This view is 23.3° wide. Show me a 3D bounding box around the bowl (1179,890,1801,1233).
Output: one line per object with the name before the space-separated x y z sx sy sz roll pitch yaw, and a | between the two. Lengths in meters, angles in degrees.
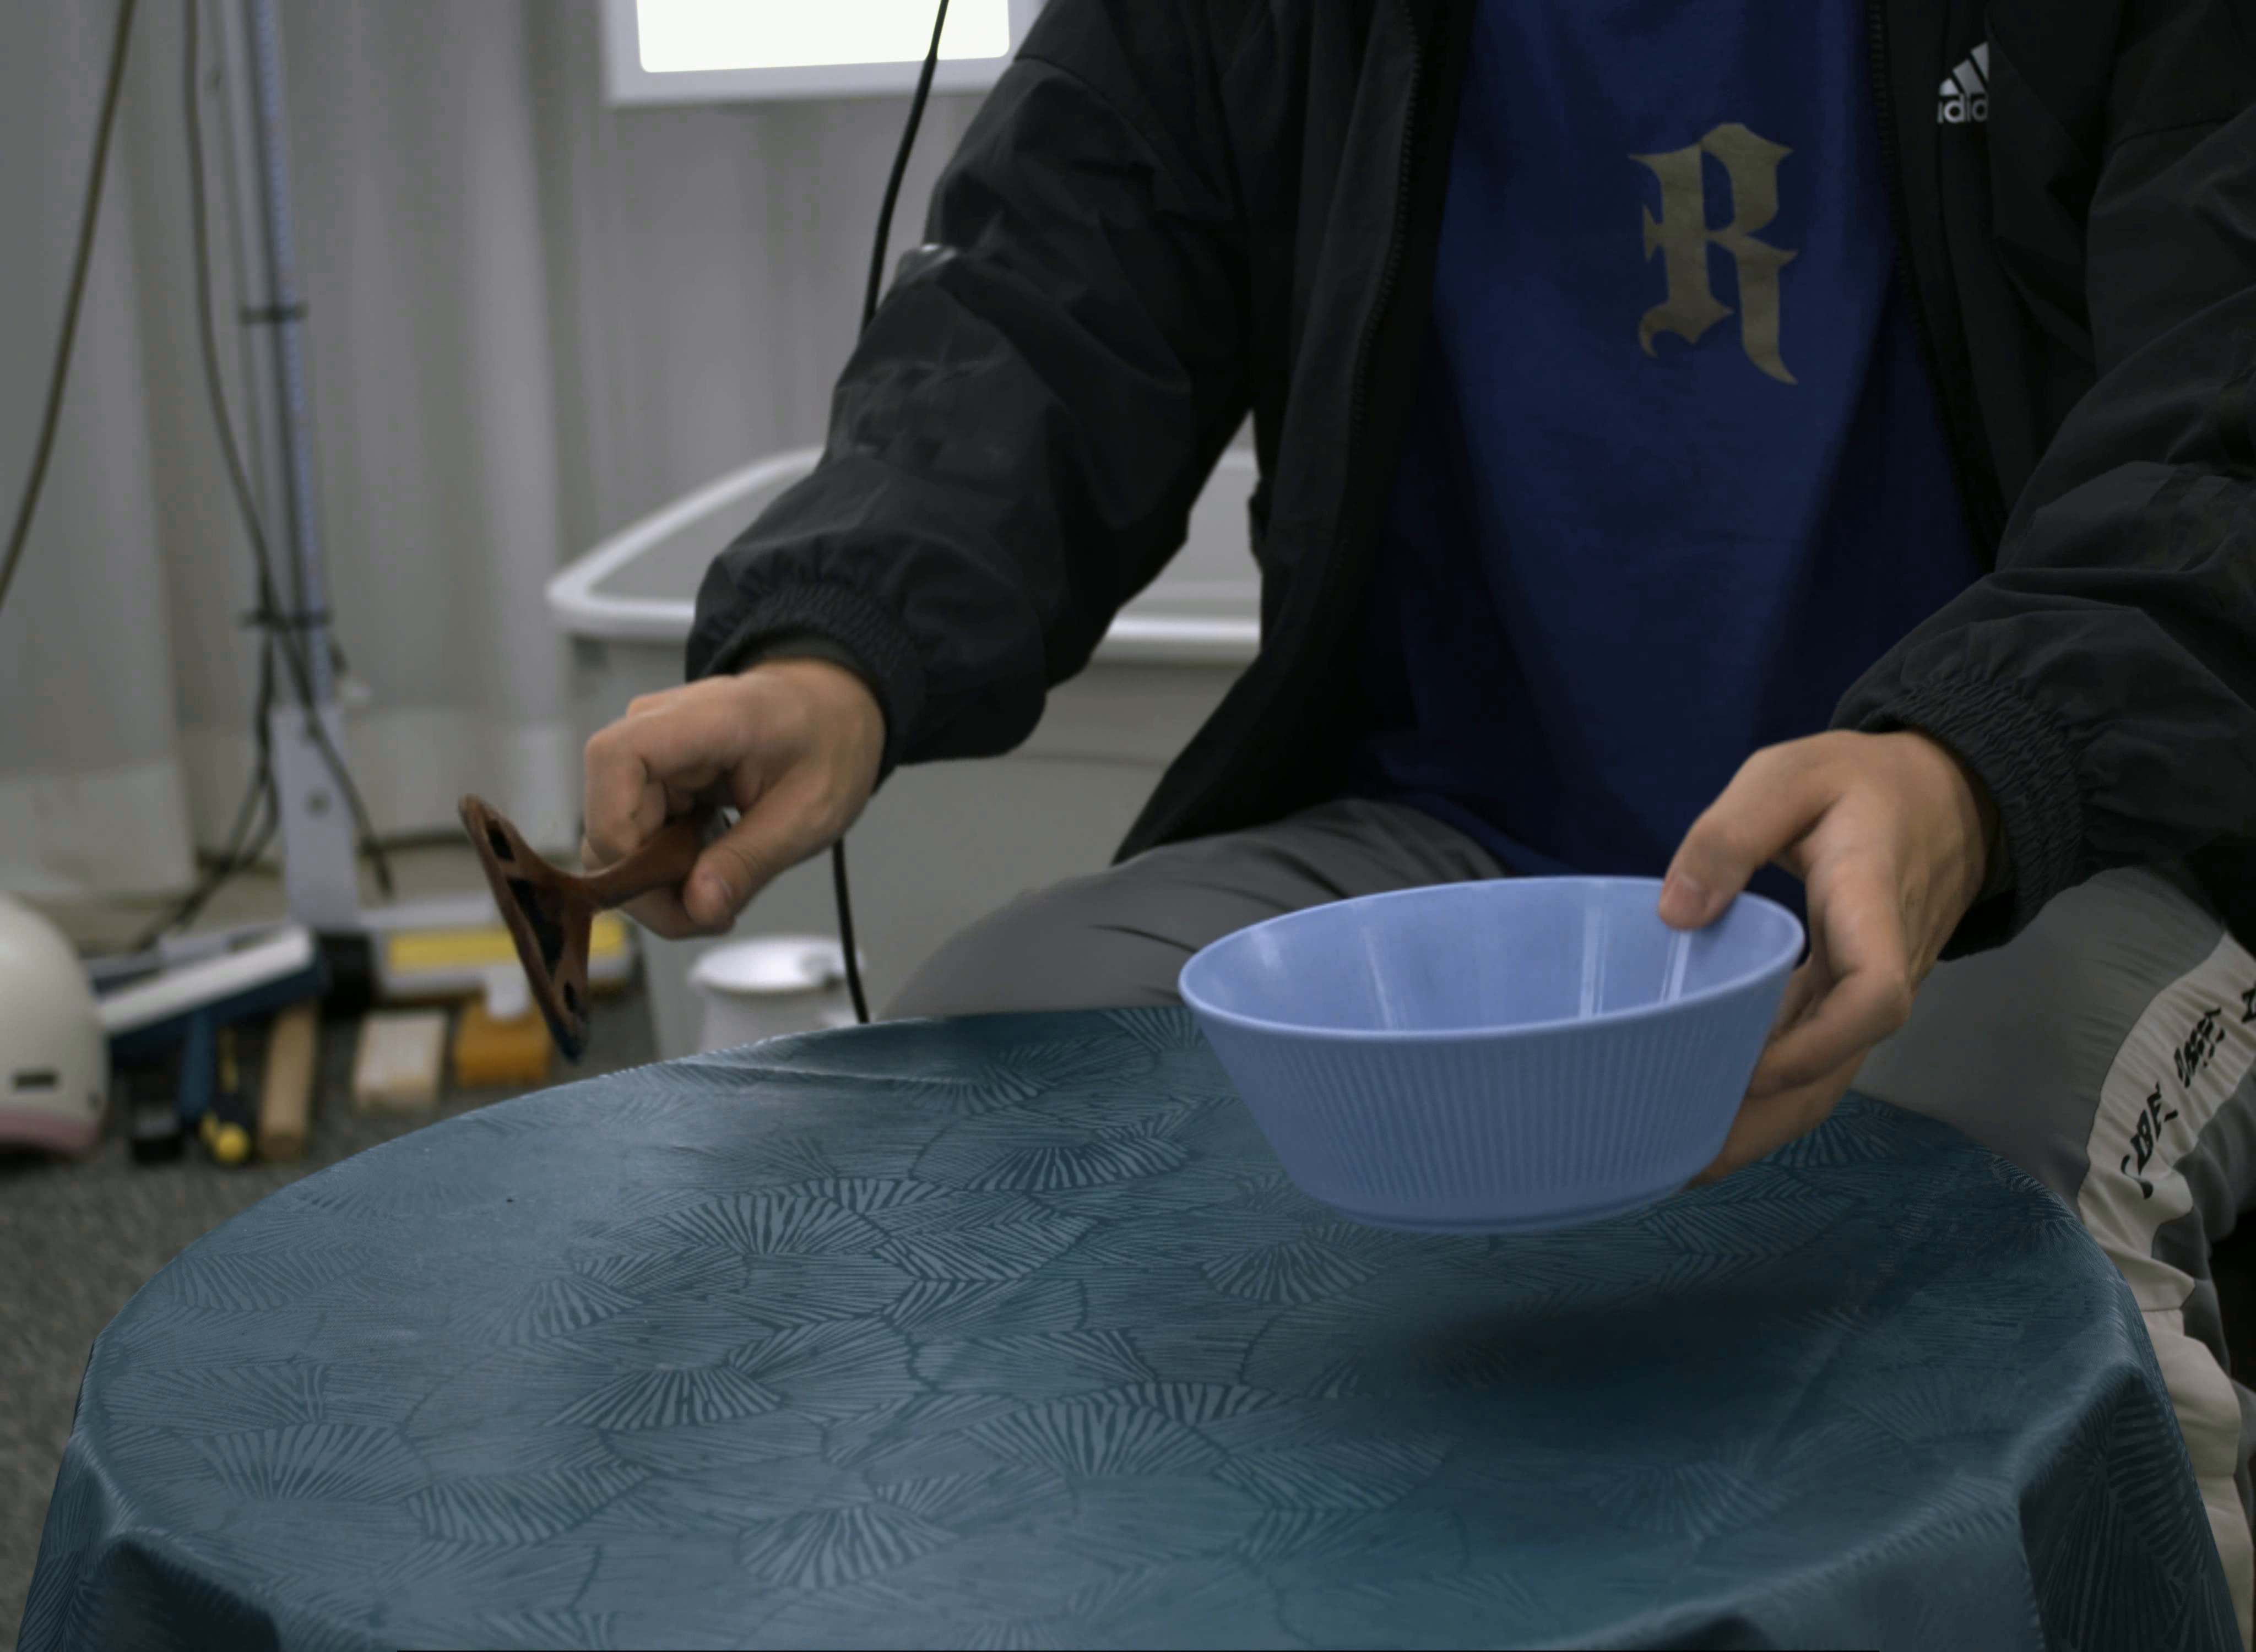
bowl | 0.103 0.067 1.536 0.175 0.070 0.177 -4 11 0

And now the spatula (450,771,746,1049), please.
spatula | -0.160 0.019 1.709 0.024 0.086 0.386 -23 0 6
